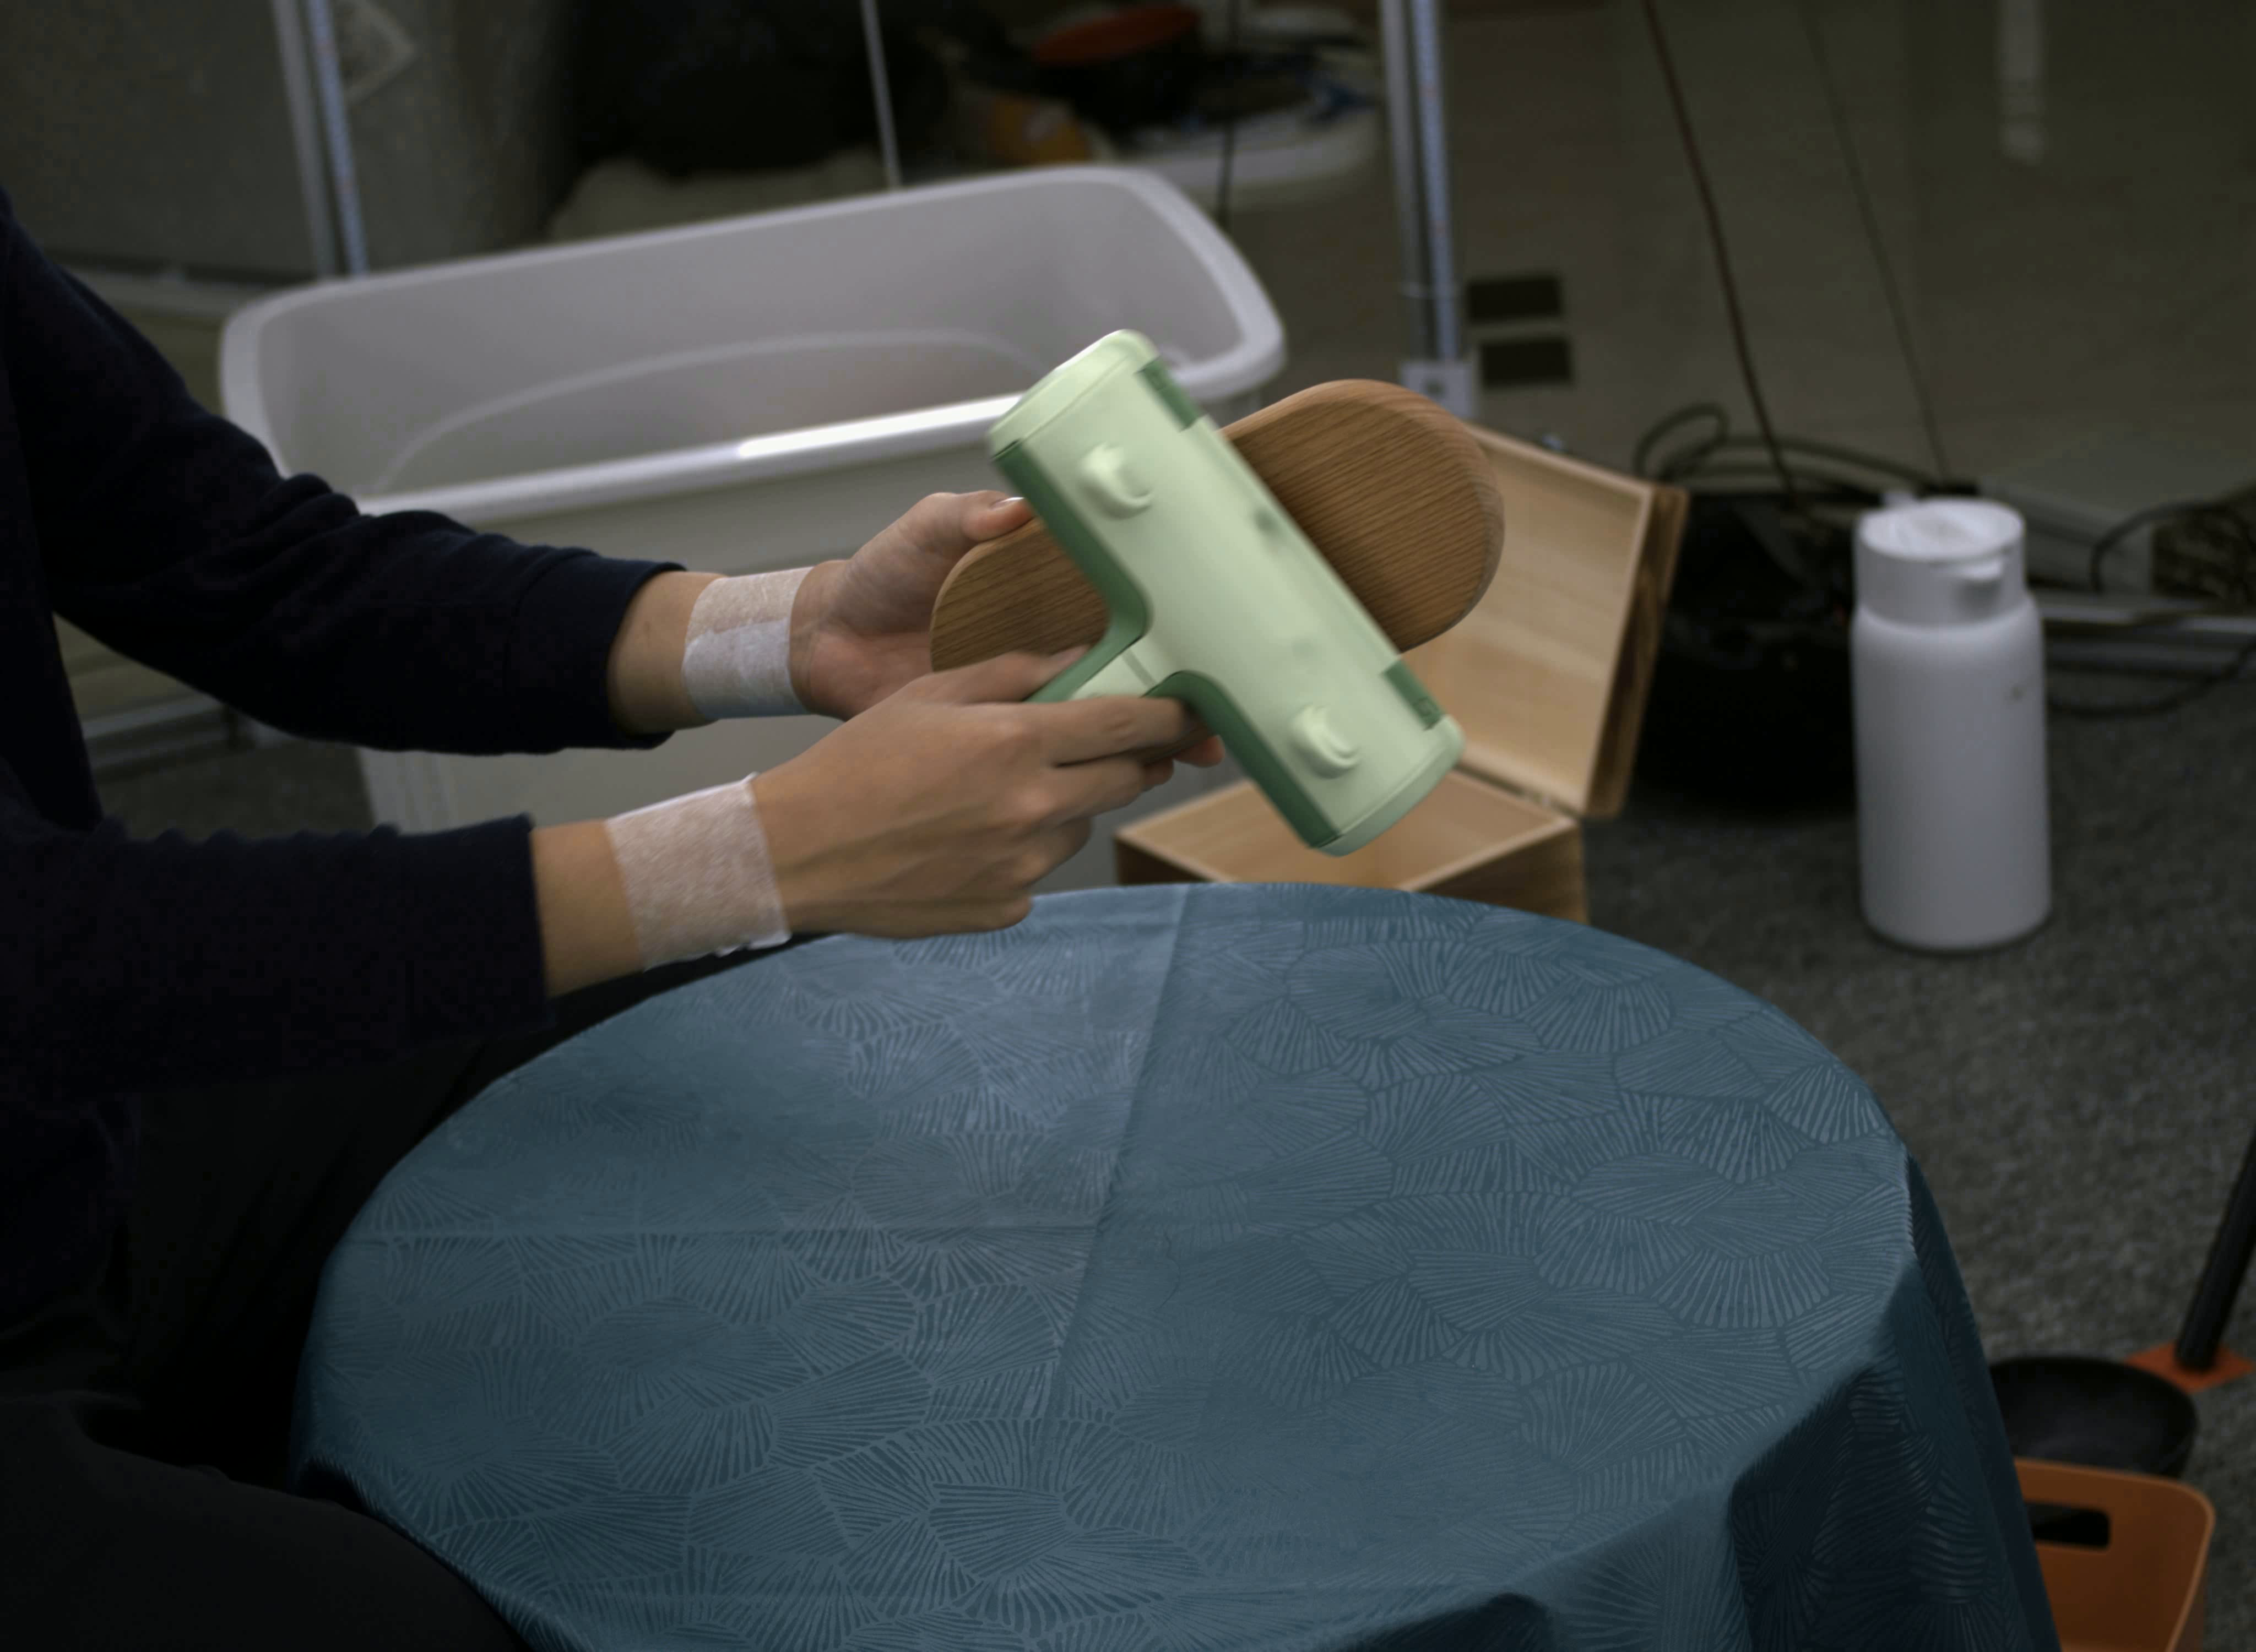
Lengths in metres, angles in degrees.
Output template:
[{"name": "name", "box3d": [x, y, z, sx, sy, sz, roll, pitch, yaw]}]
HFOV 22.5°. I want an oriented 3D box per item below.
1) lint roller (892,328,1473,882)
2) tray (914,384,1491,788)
[{"name": "lint roller", "box3d": [-0.005, -0.043, 1.955, 0.182, 0.199, 0.082, -41, 8, -8]}, {"name": "tray", "box3d": [0.024, -0.083, 2.014, 0.232, 0.102, 0.020, -23, 15, 27]}]
